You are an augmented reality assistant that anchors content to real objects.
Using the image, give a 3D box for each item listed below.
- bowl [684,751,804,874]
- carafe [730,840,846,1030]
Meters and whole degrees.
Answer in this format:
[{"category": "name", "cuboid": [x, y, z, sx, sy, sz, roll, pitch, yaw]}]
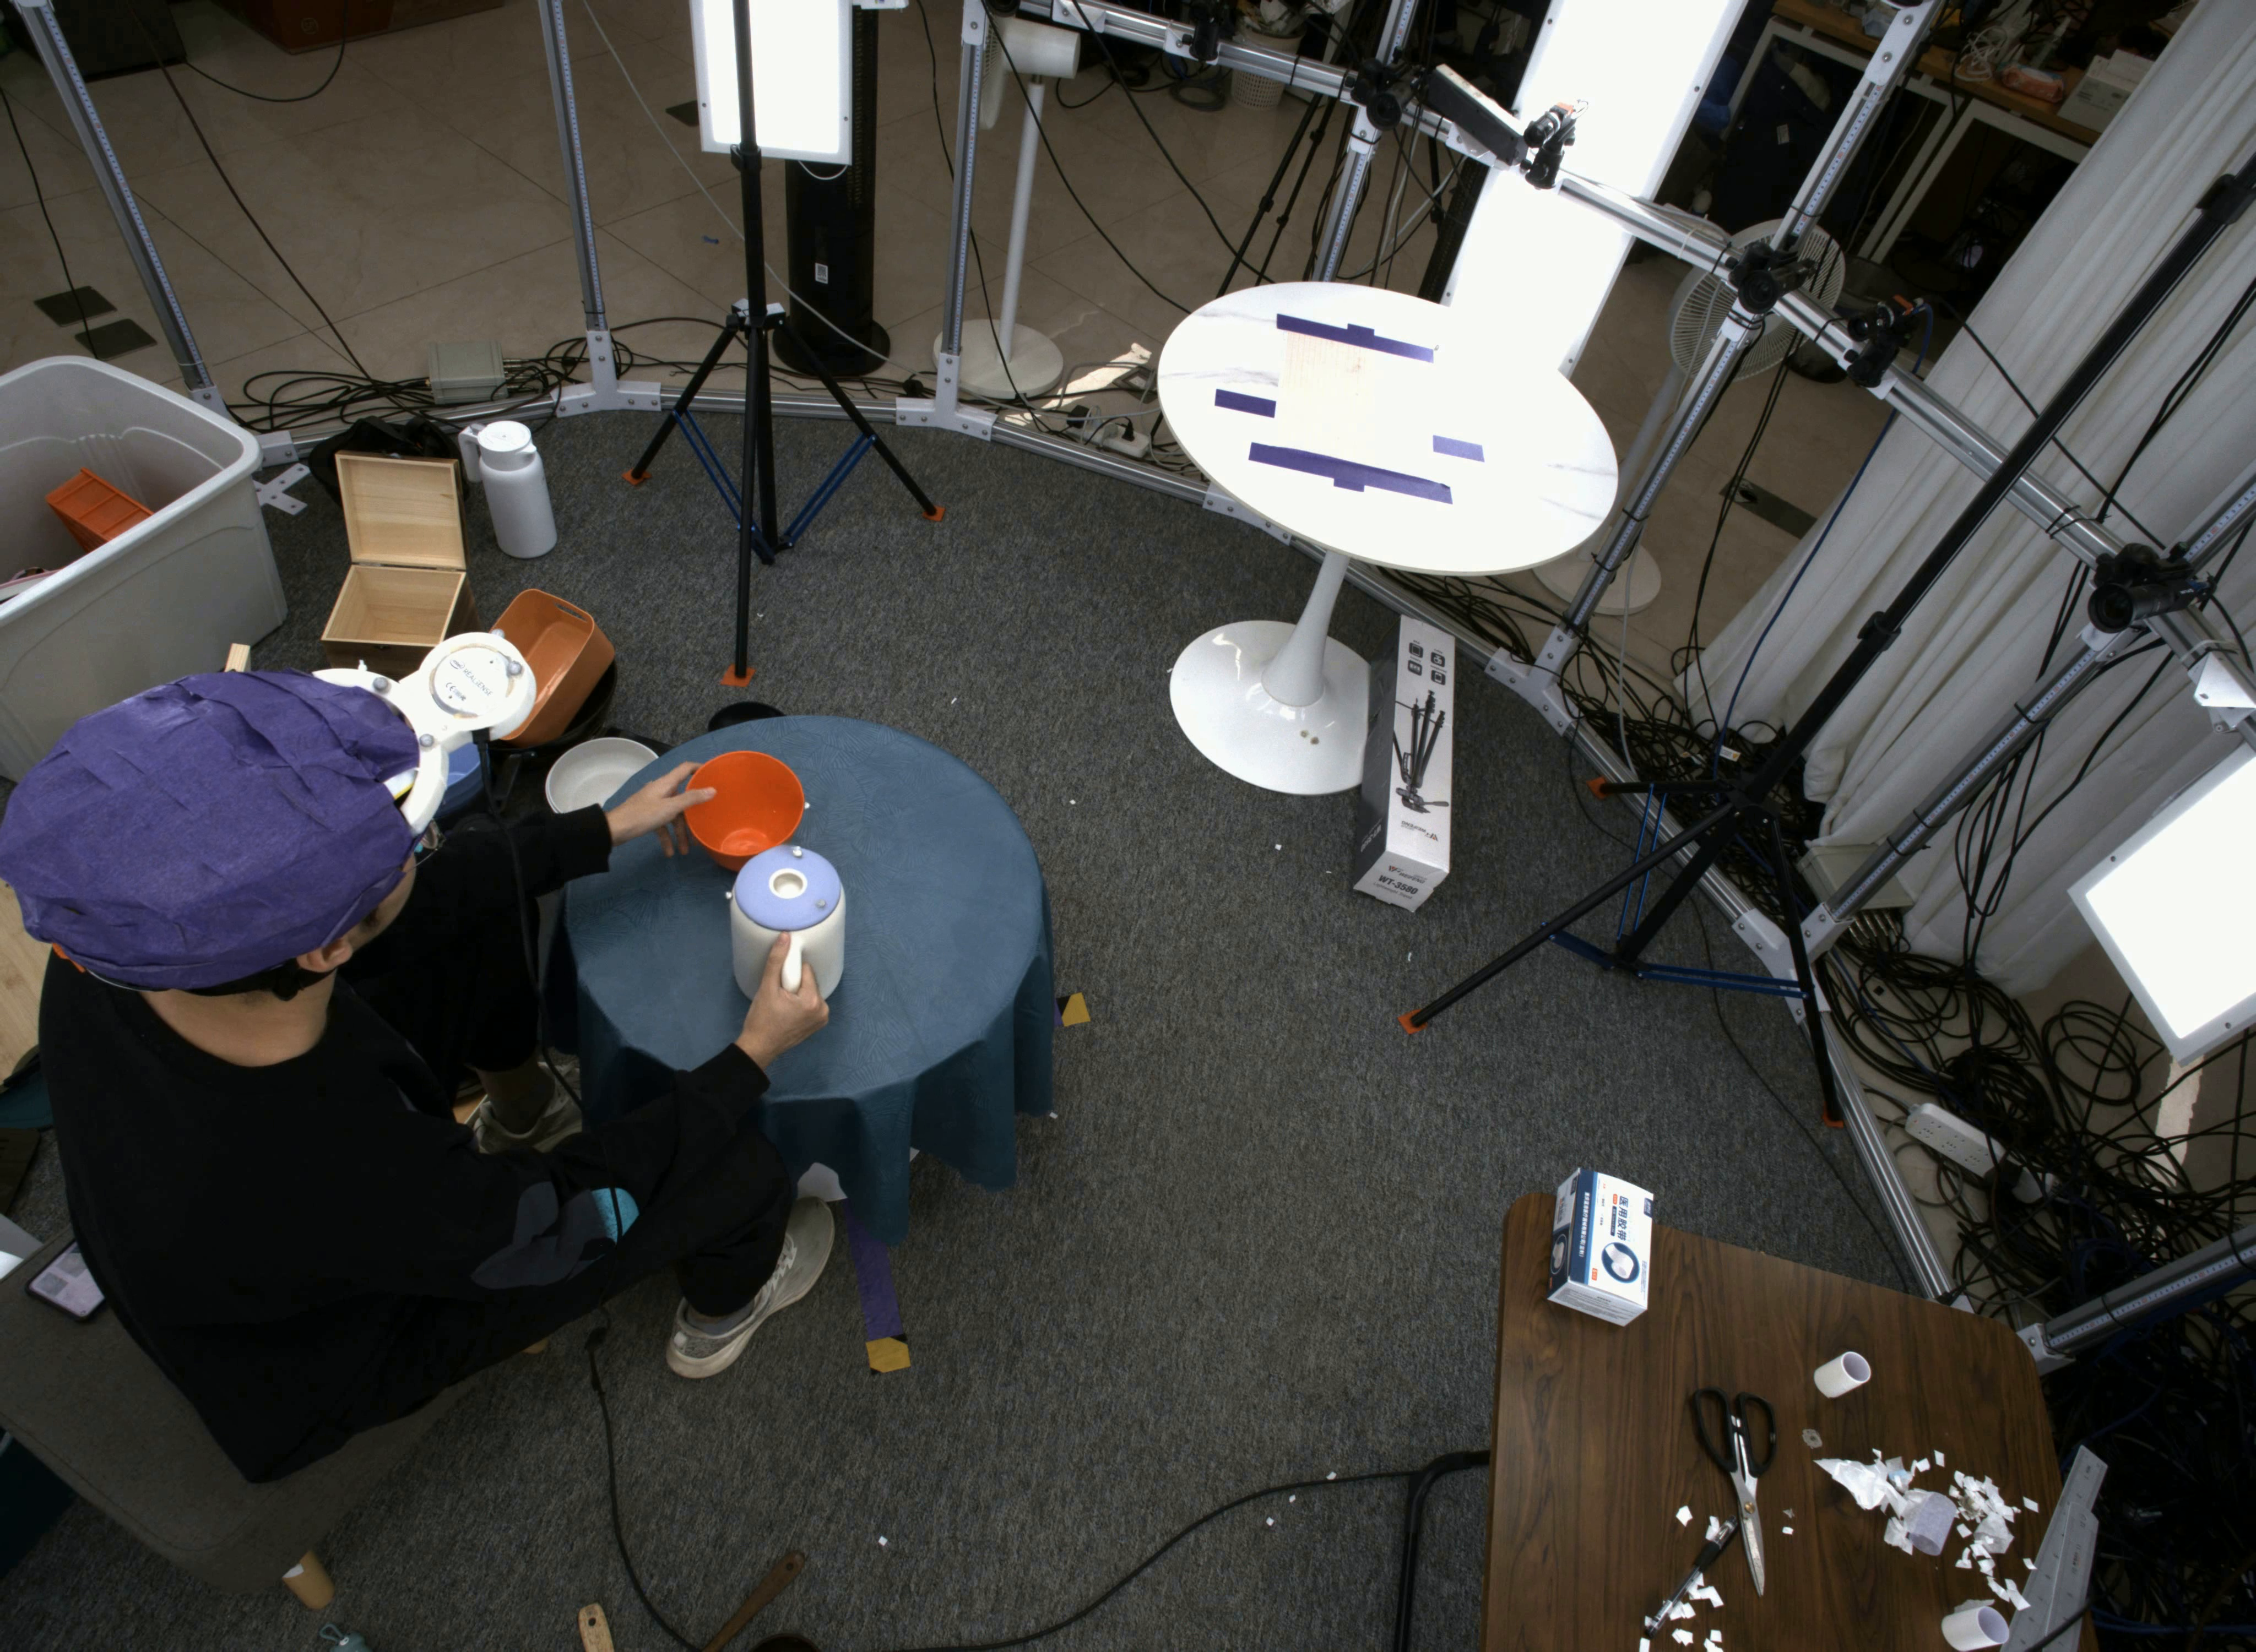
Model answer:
[{"category": "bowl", "cuboid": [-0.488, -0.006, 1.653, 0.148, 0.107, 0.145, 8, 52, -8]}, {"category": "carafe", "cuboid": [-0.396, 0.140, 1.521, 0.132, 0.186, 0.187, -5, 55, -16]}]
